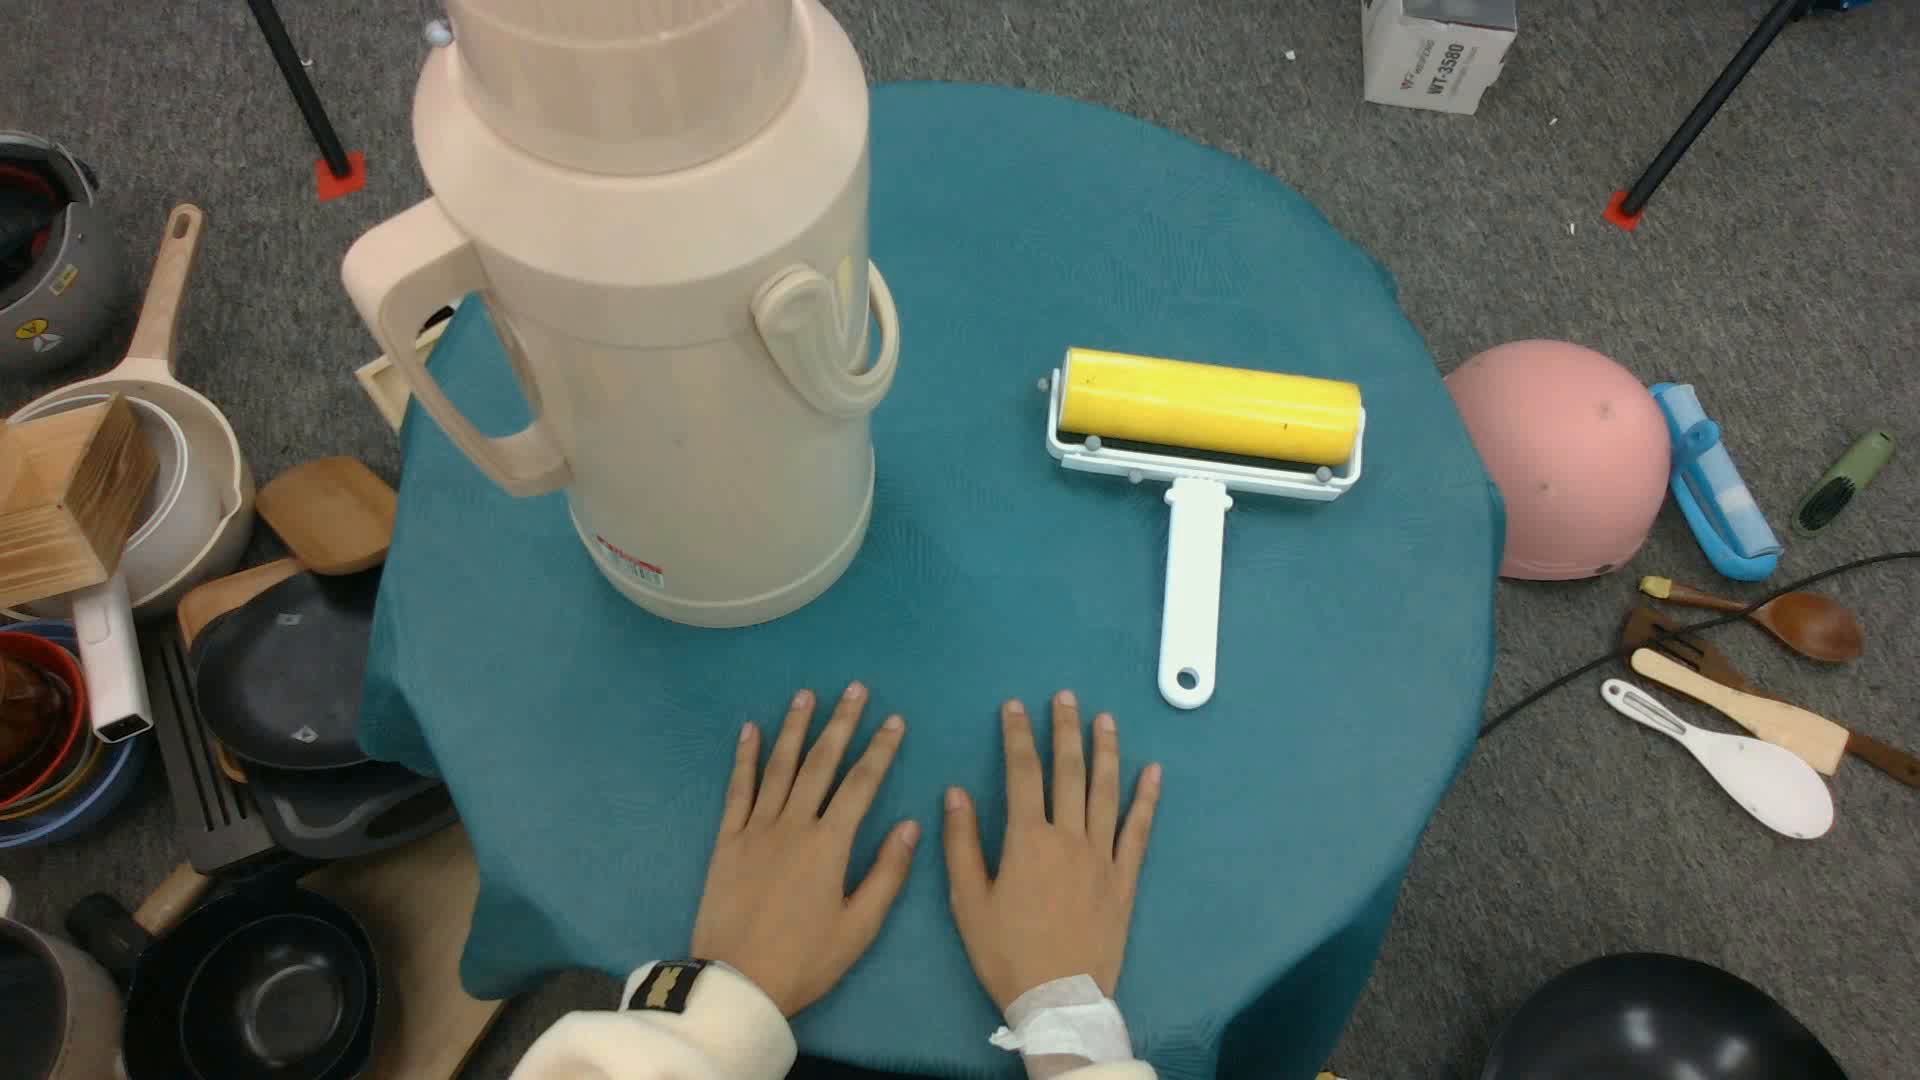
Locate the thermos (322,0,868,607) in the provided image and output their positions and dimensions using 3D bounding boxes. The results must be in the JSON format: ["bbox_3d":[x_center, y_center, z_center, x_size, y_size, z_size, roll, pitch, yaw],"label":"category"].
[{"bbox_3d":[-0.136,-0.113,0.566,0.207,0.404,0.175,-36,73,-19],"label":"thermos"}]

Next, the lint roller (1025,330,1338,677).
[{"bbox_3d":[0.118,-0.023,0.735,0.174,0.051,0.193,6,58,-2],"label":"lint roller"}]
